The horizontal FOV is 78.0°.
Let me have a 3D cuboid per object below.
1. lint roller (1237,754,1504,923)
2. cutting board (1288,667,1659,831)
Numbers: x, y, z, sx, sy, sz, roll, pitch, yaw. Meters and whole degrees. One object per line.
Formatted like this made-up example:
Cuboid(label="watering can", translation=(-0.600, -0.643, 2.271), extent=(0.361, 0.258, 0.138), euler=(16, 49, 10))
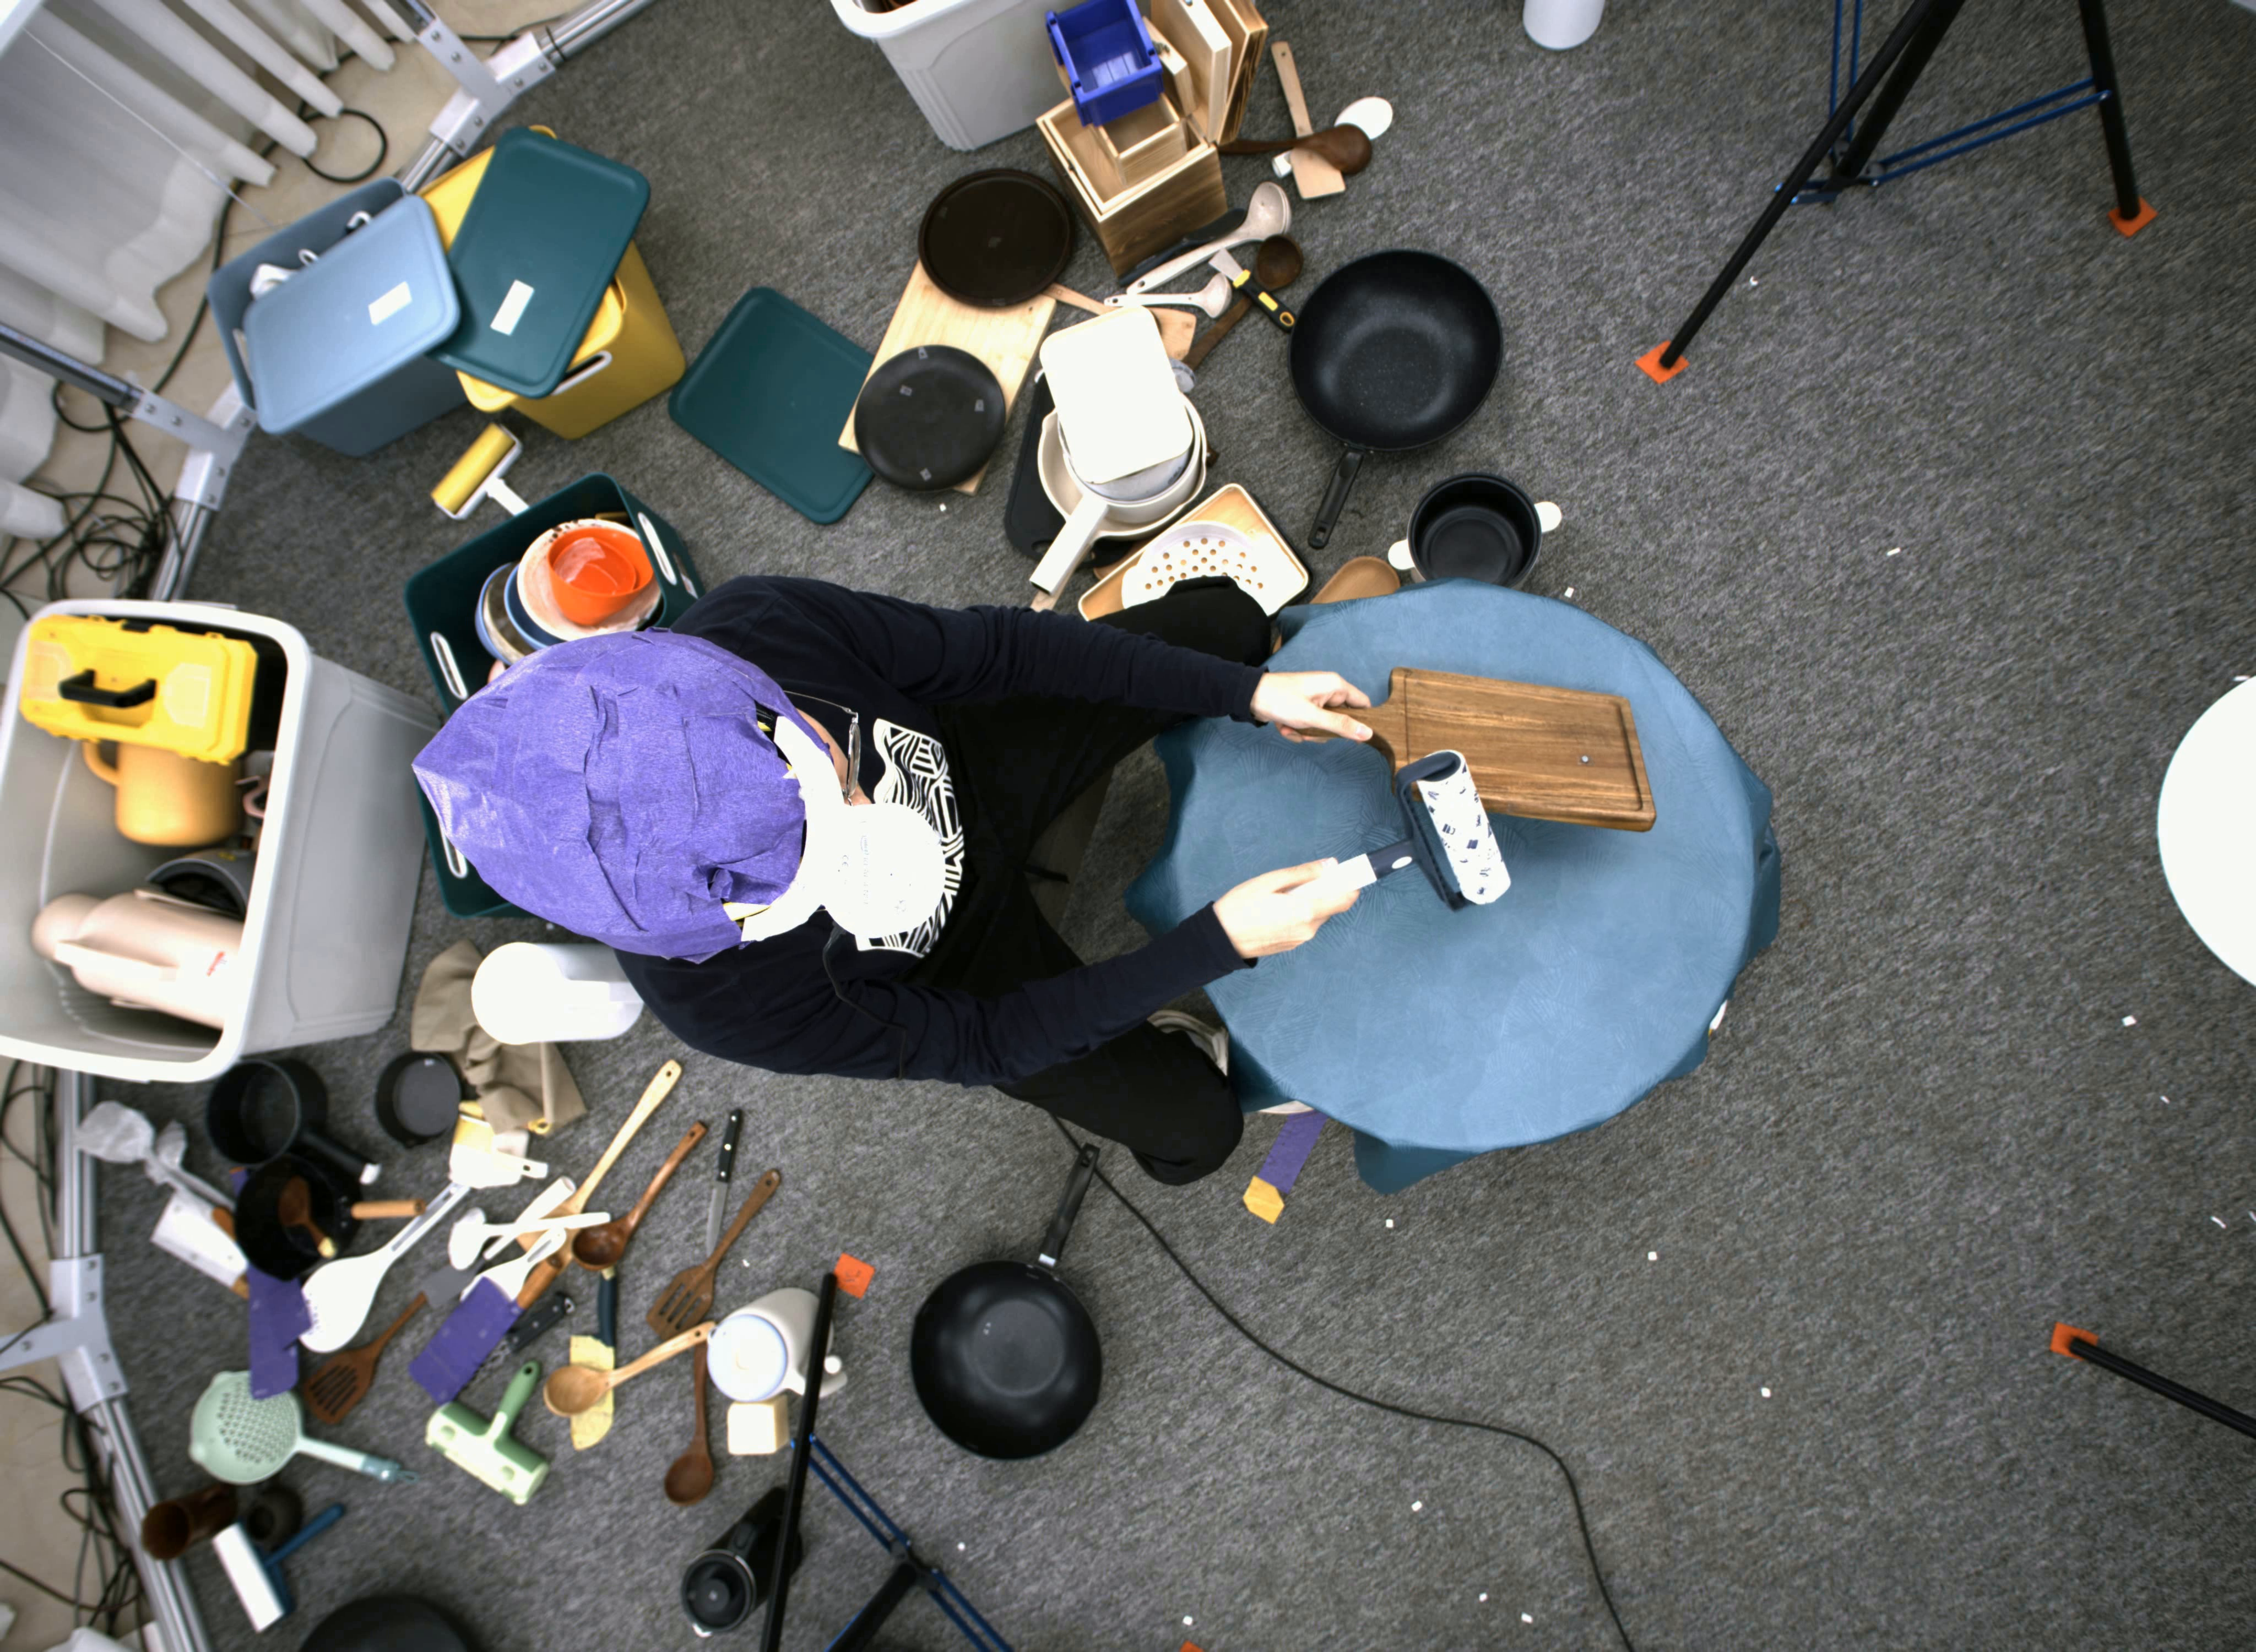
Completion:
Cuboid(label="lint roller", translation=(0.220, 0.044, 1.308), extent=(0.249, 0.179, 0.049), euler=(-24, 38, 12))
Cuboid(label="cutting board", translation=(0.335, -0.088, 1.361), extent=(0.353, 0.024, 0.195), euler=(6, 45, 3))
